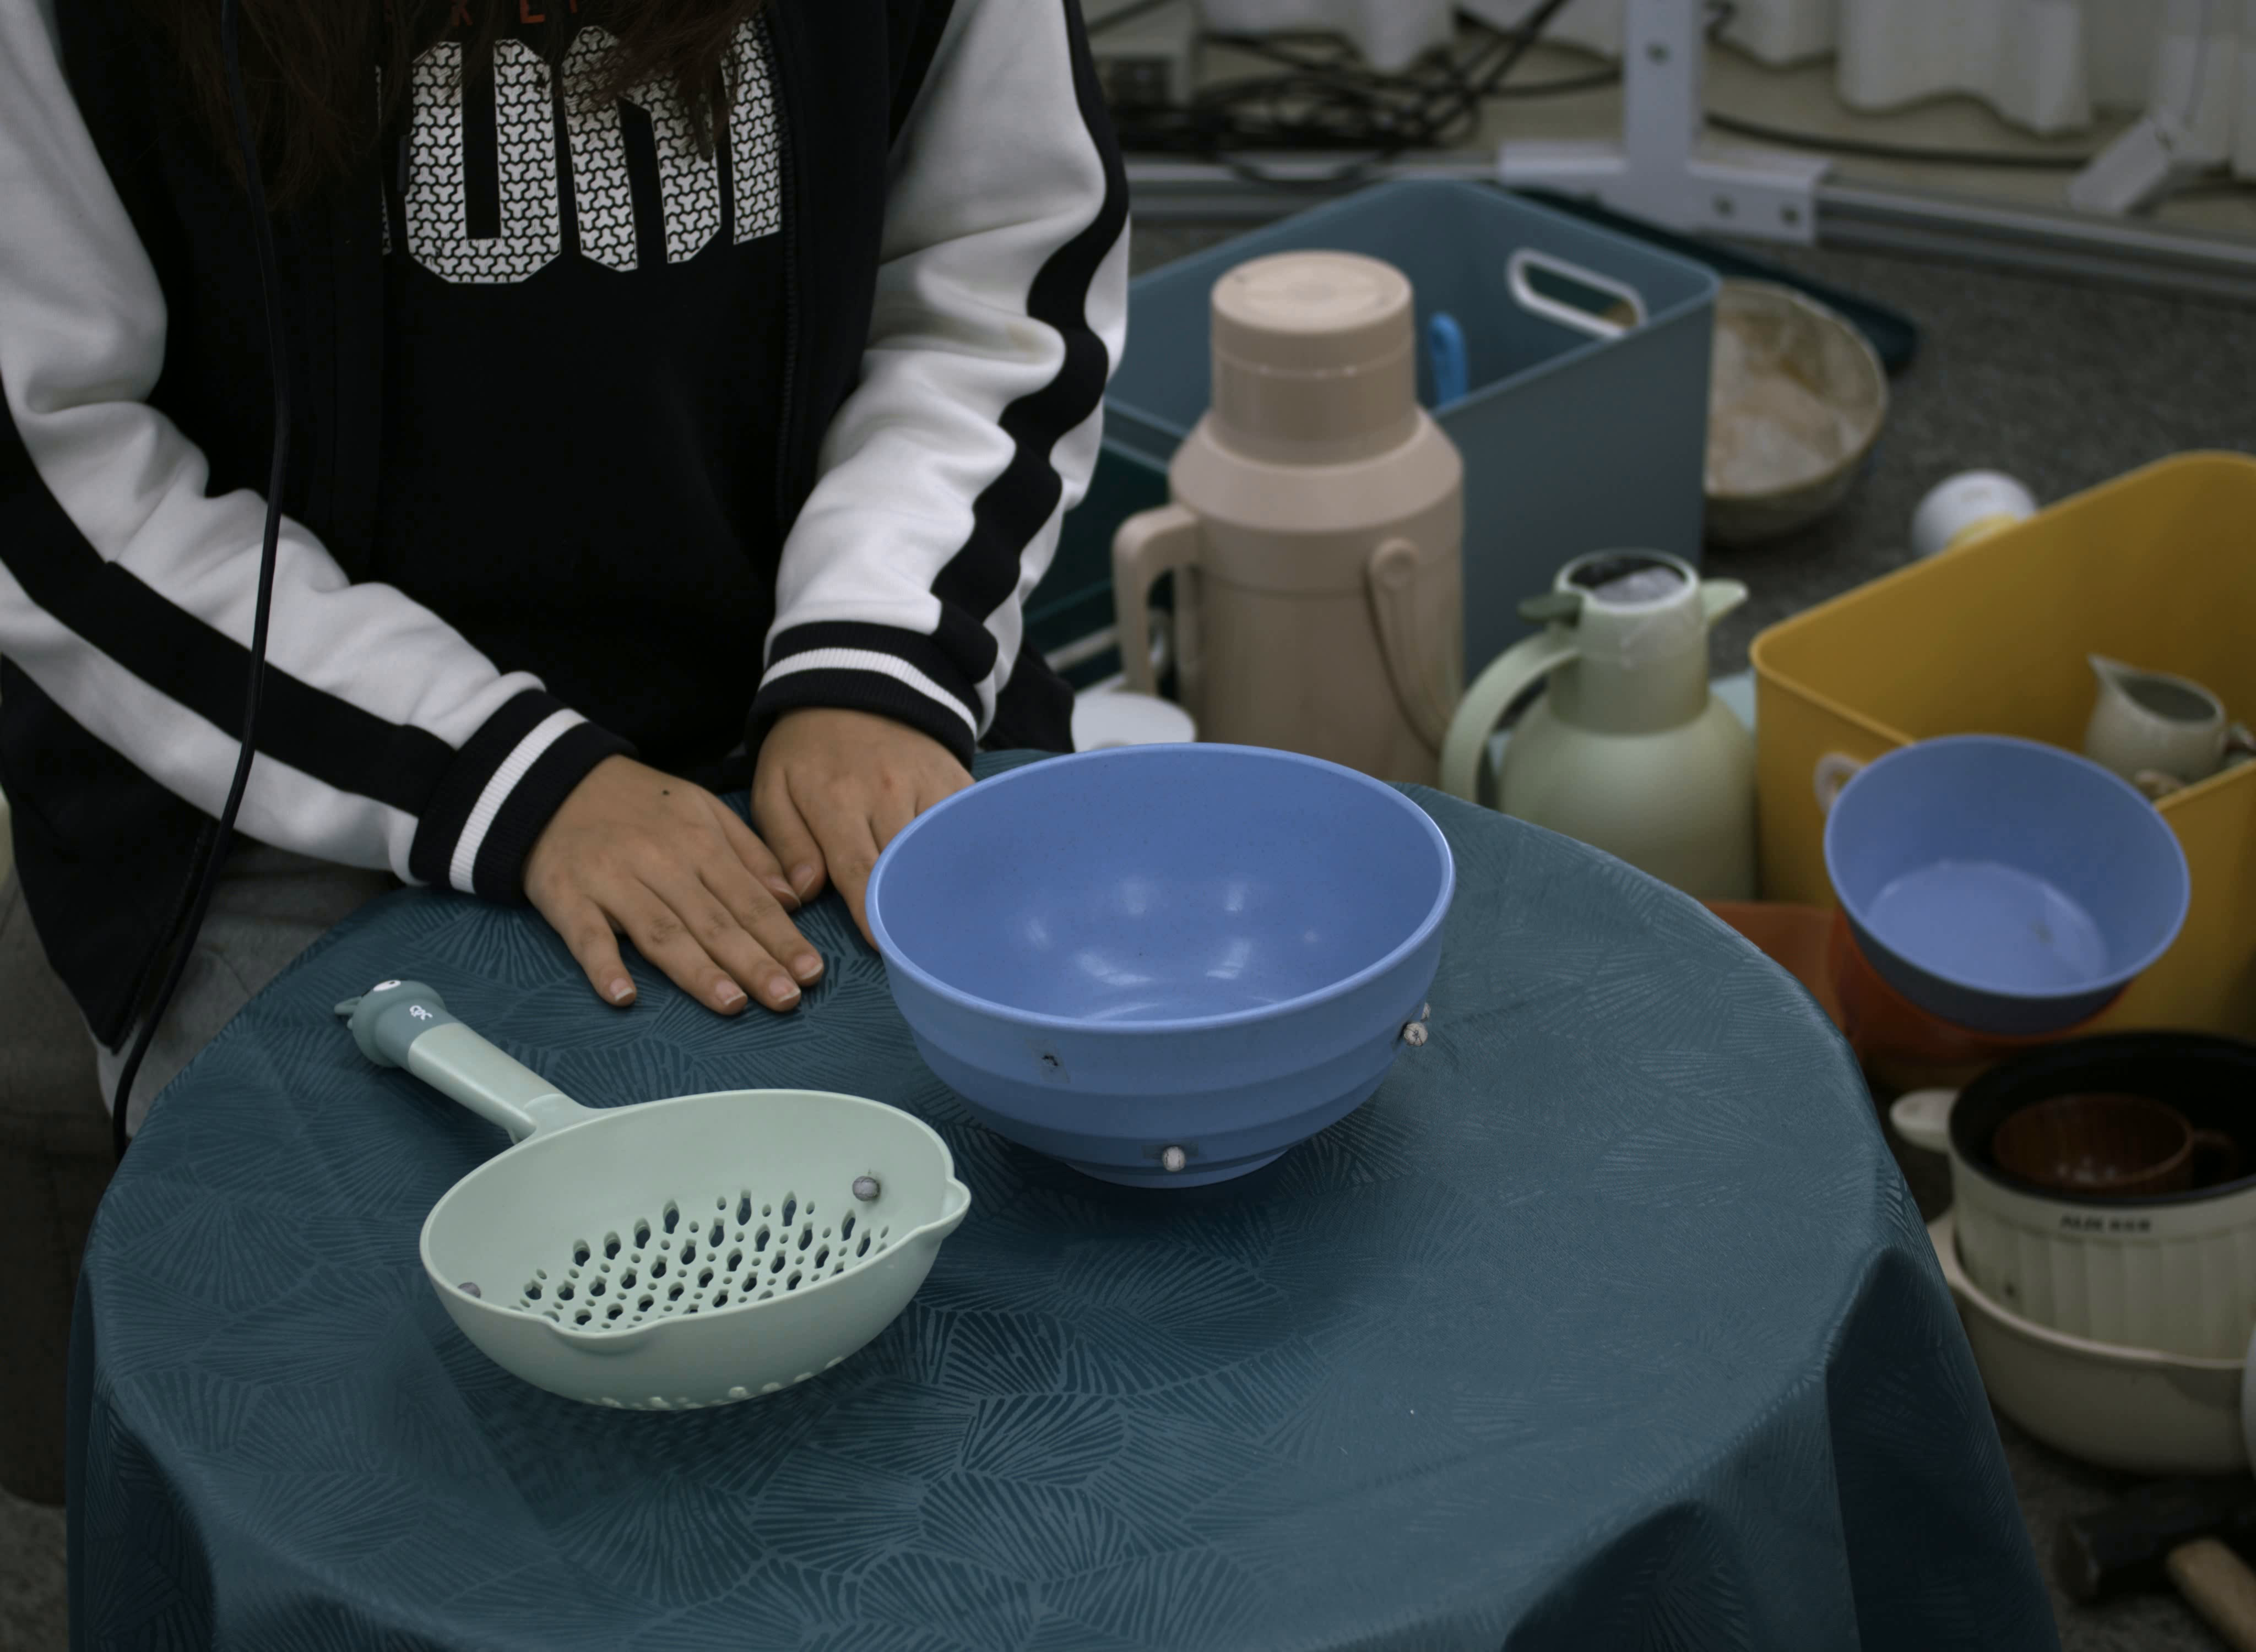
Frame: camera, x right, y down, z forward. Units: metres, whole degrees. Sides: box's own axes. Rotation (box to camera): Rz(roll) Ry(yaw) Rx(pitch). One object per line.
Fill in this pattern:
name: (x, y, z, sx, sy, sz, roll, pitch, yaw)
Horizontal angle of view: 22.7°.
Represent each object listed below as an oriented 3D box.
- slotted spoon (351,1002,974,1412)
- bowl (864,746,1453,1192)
slotted spoon: (-0.184, 0.108, 1.844, 0.170, 0.074, 0.360, -16, 28, -26)
bowl: (0.013, 0.059, 1.881, 0.195, 0.094, 0.199, -3, 27, 2)
